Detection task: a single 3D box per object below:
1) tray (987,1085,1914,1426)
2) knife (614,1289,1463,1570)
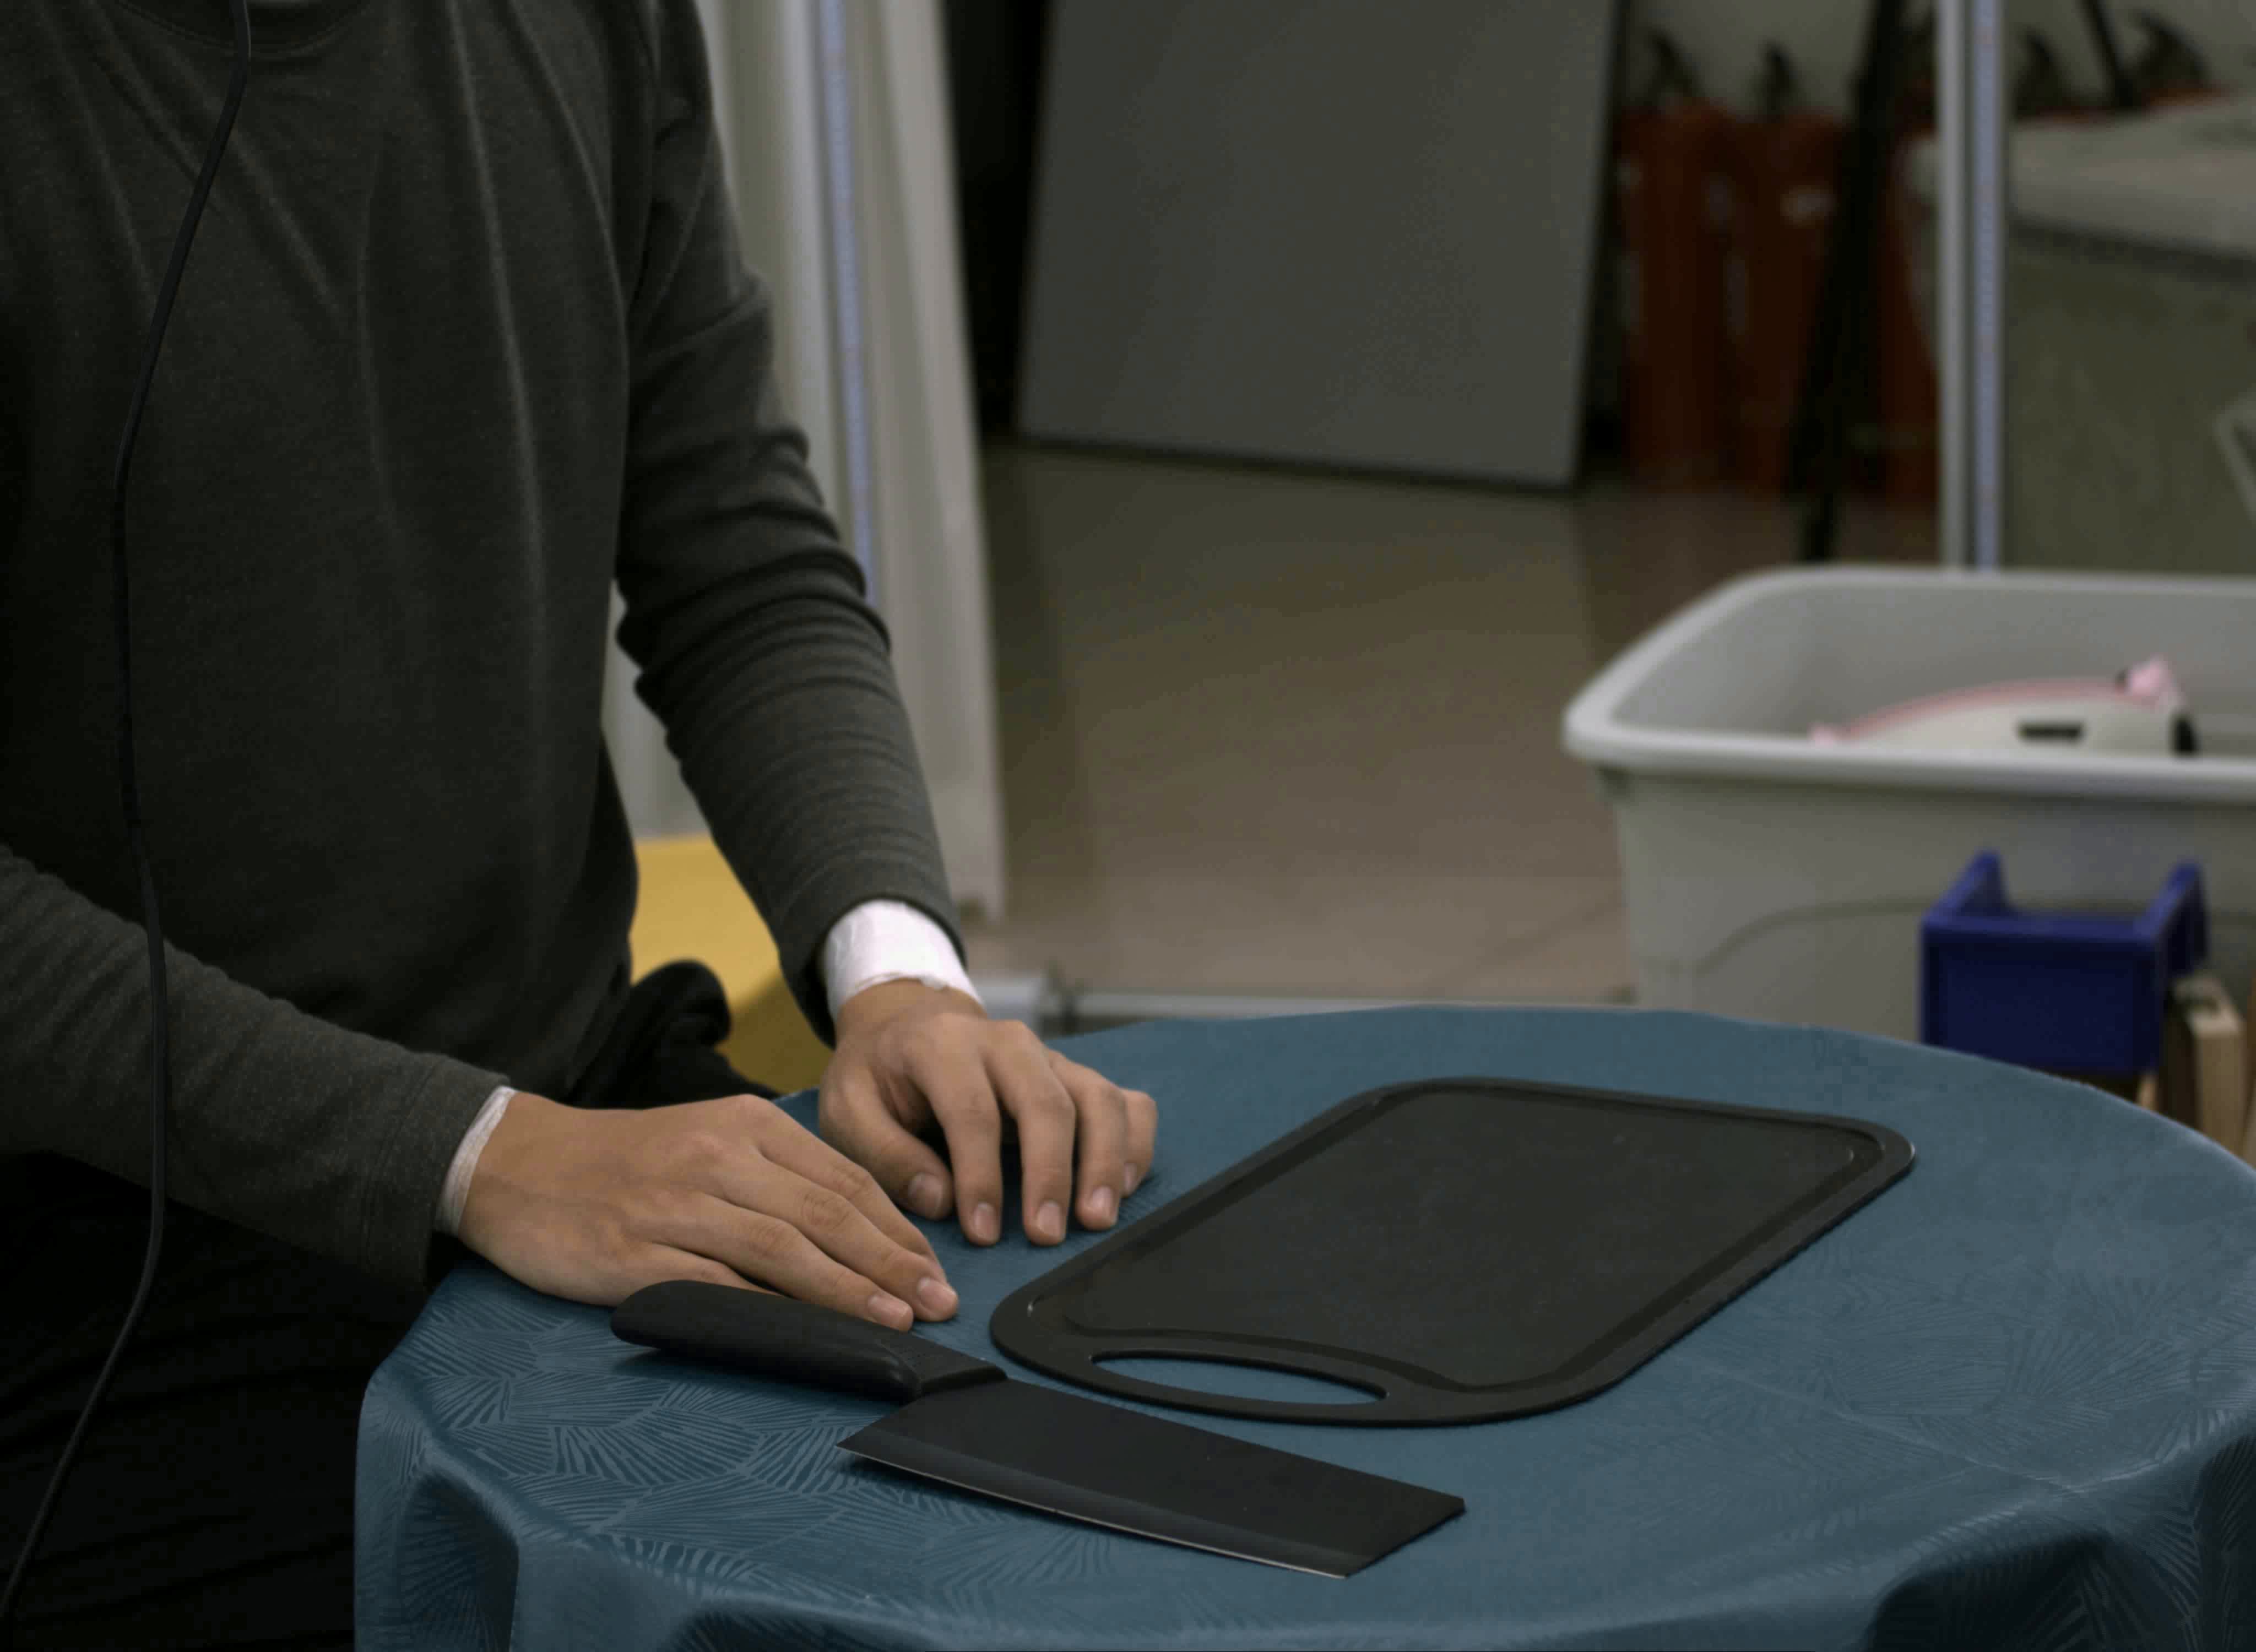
[{"bbox_3d":[0.102,0.131,1.693,0.212,0.010,0.320,4,16,33],"label":"tray"},{"bbox_3d":[-0.038,0.172,1.548,0.305,0.021,0.079,11,21,43],"label":"knife"}]
